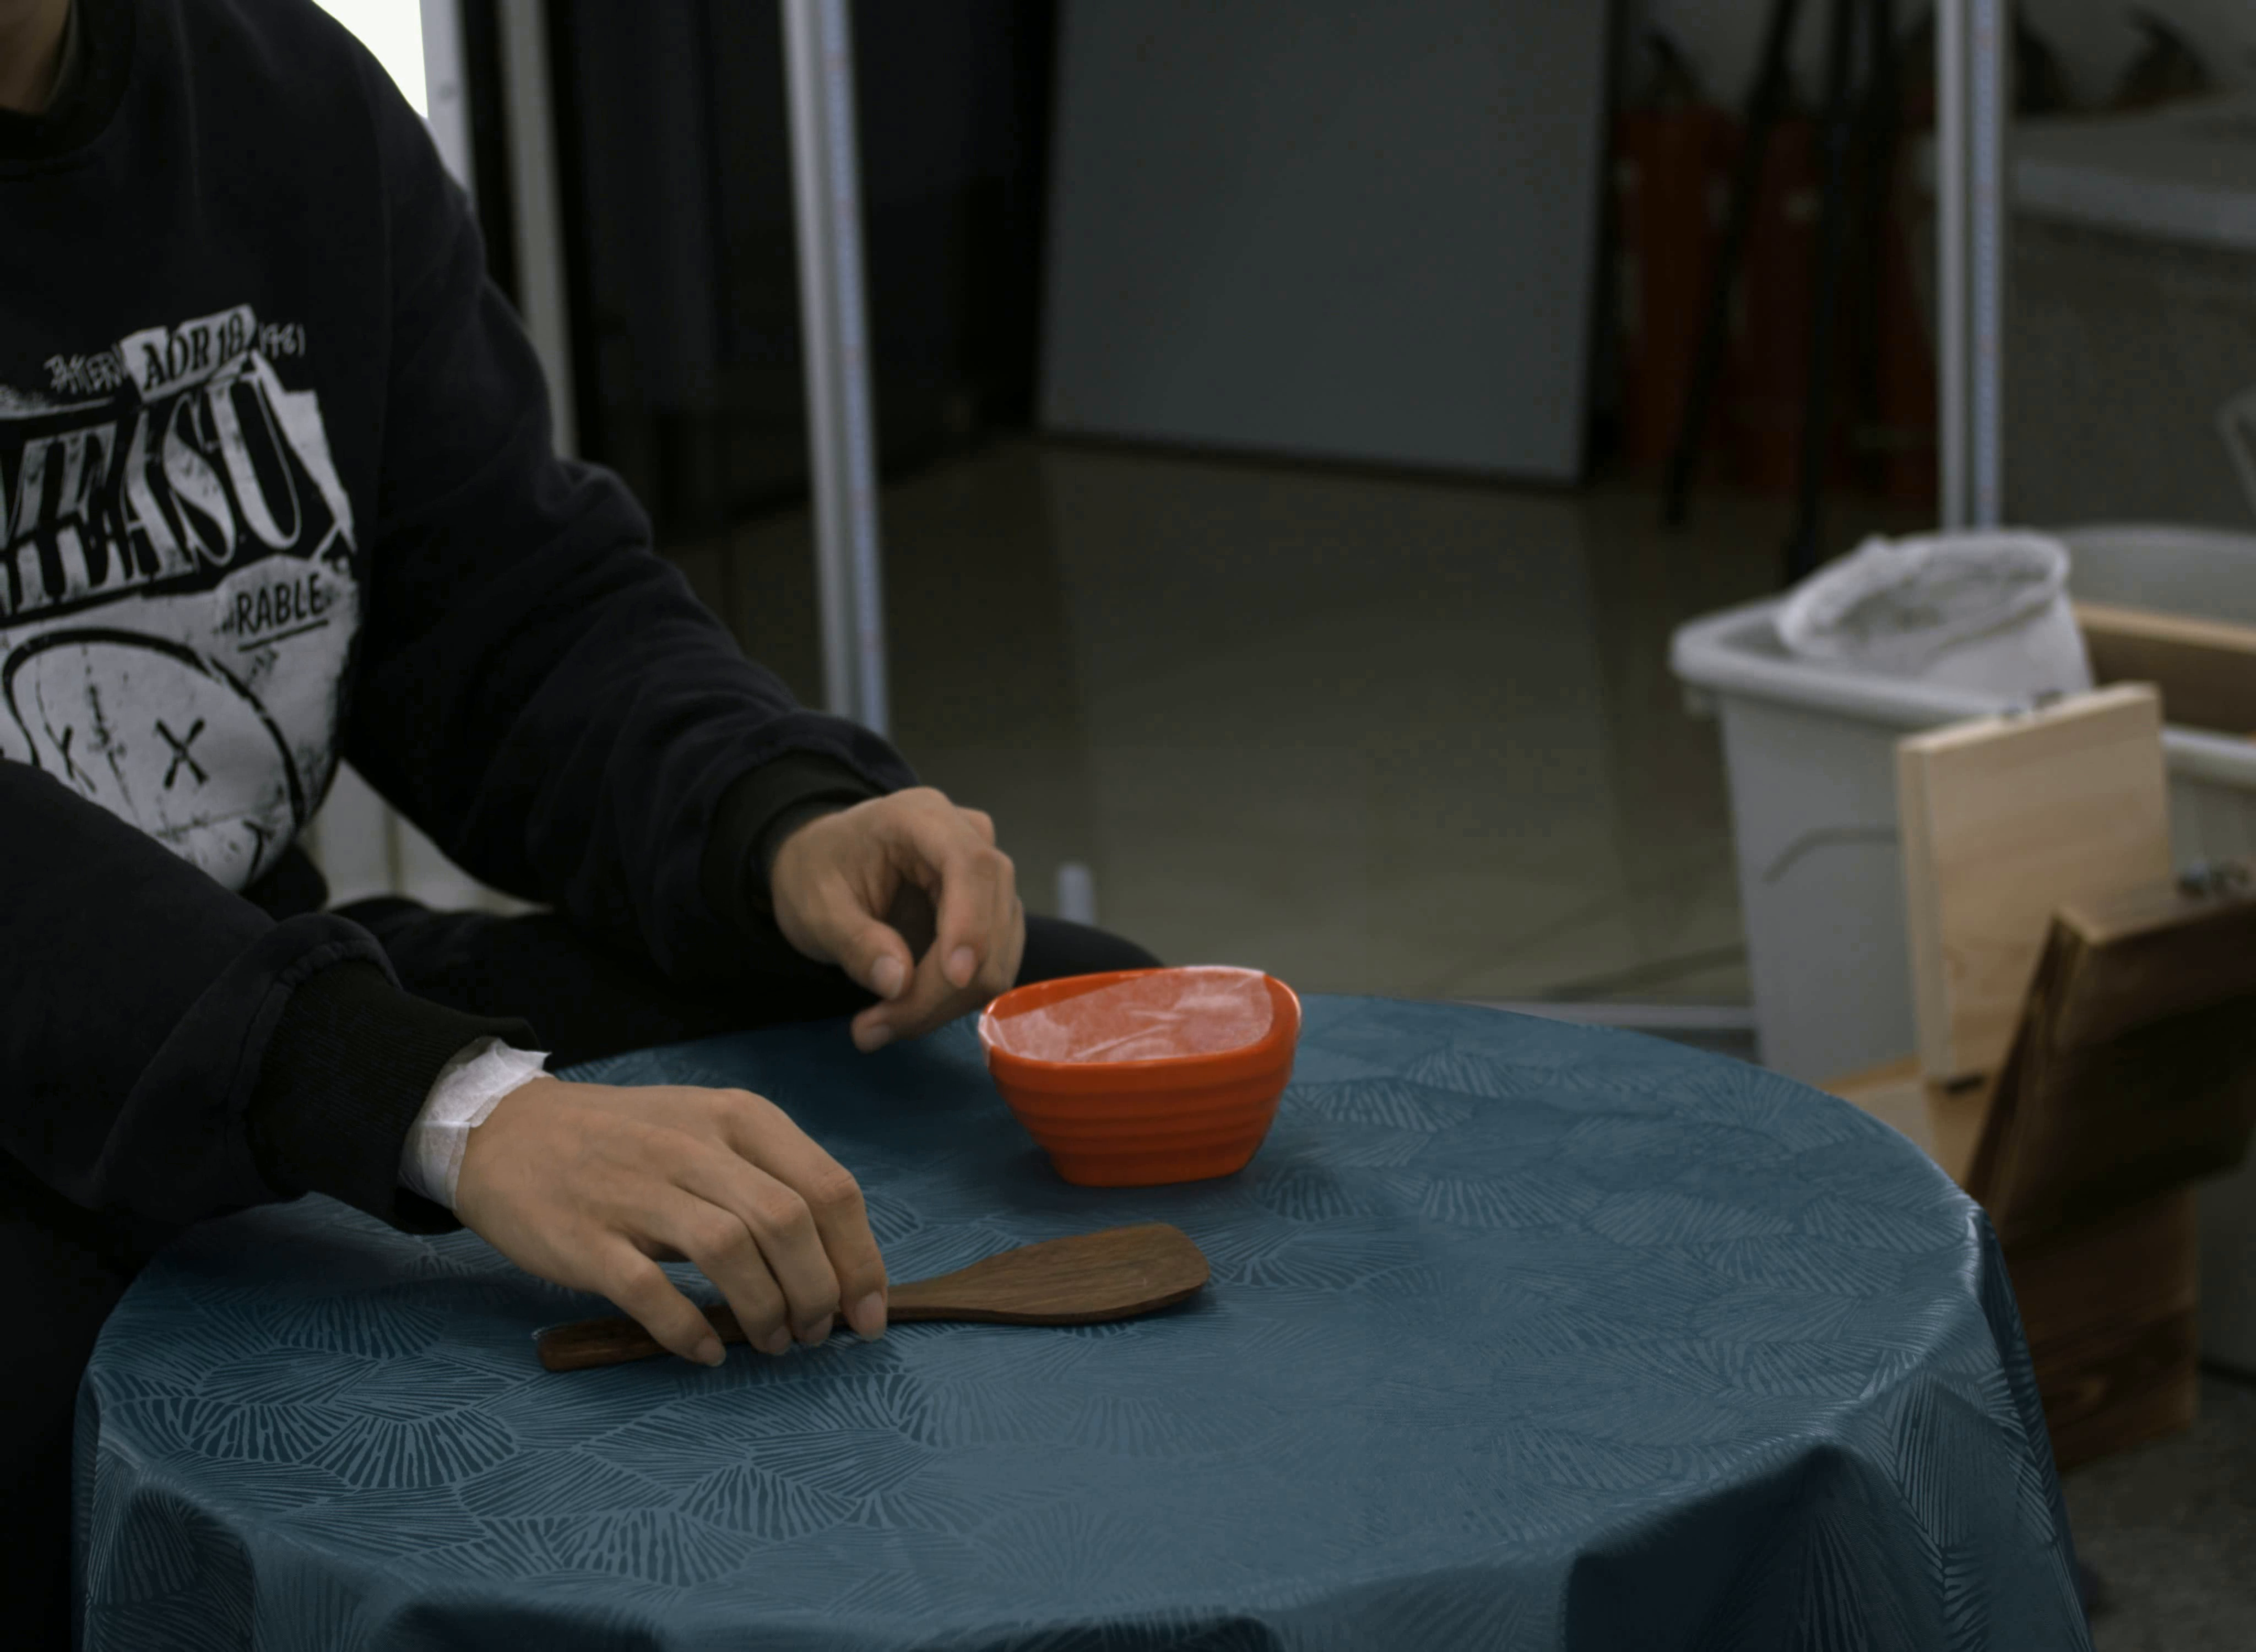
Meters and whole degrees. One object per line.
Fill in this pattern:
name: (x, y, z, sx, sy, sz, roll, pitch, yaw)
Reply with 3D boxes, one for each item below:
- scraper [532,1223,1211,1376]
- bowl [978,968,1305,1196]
scraper: (-0.079, 0.150, 1.664, 0.207, 0.011, 0.076, -7, 13, -10)
bowl: (0.006, 0.088, 1.801, 0.117, 0.052, 0.119, -3, 16, 0)
